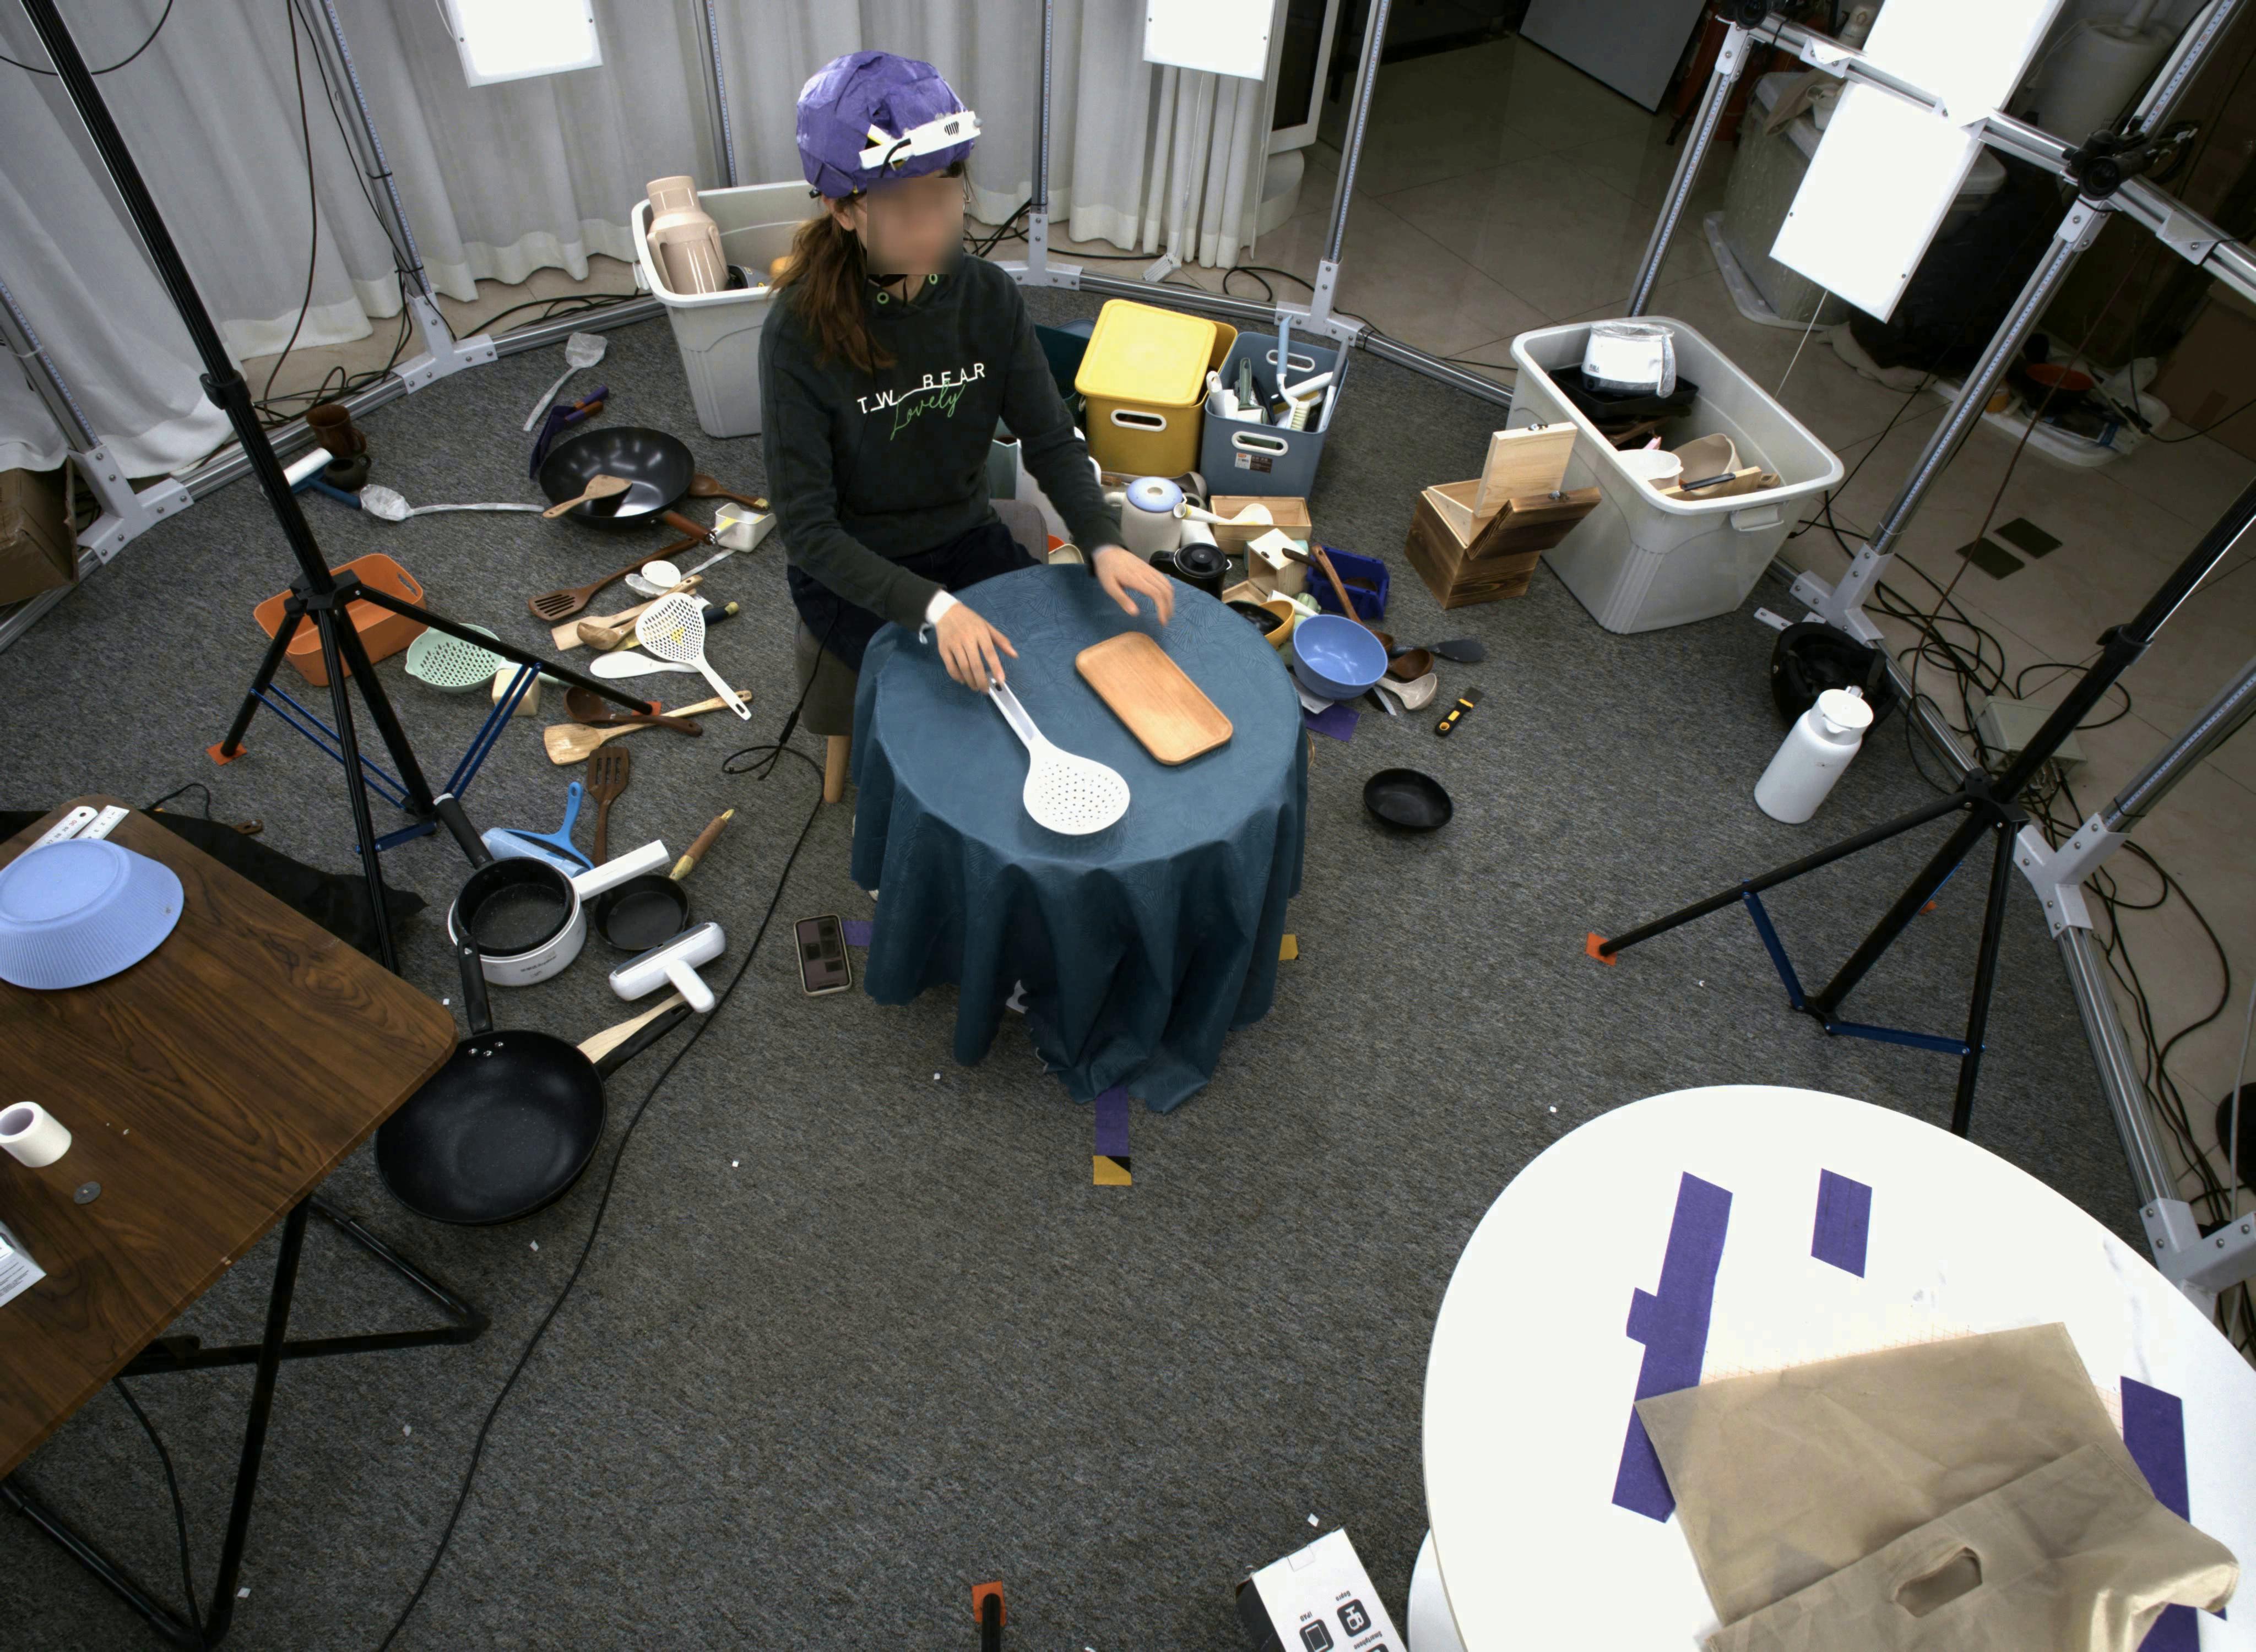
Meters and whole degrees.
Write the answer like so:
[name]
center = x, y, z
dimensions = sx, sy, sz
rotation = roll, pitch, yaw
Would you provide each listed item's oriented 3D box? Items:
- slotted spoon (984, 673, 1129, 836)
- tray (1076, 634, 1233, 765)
[slotted spoon]
center = -0.117, -0.103, 1.736
dimensions = 0.136, 0.044, 0.357
rotation = -18, 52, -20
[tray]
center = 0.035, -0.184, 1.836
dimensions = 0.131, 0.022, 0.256
rotation = -23, 53, -24
